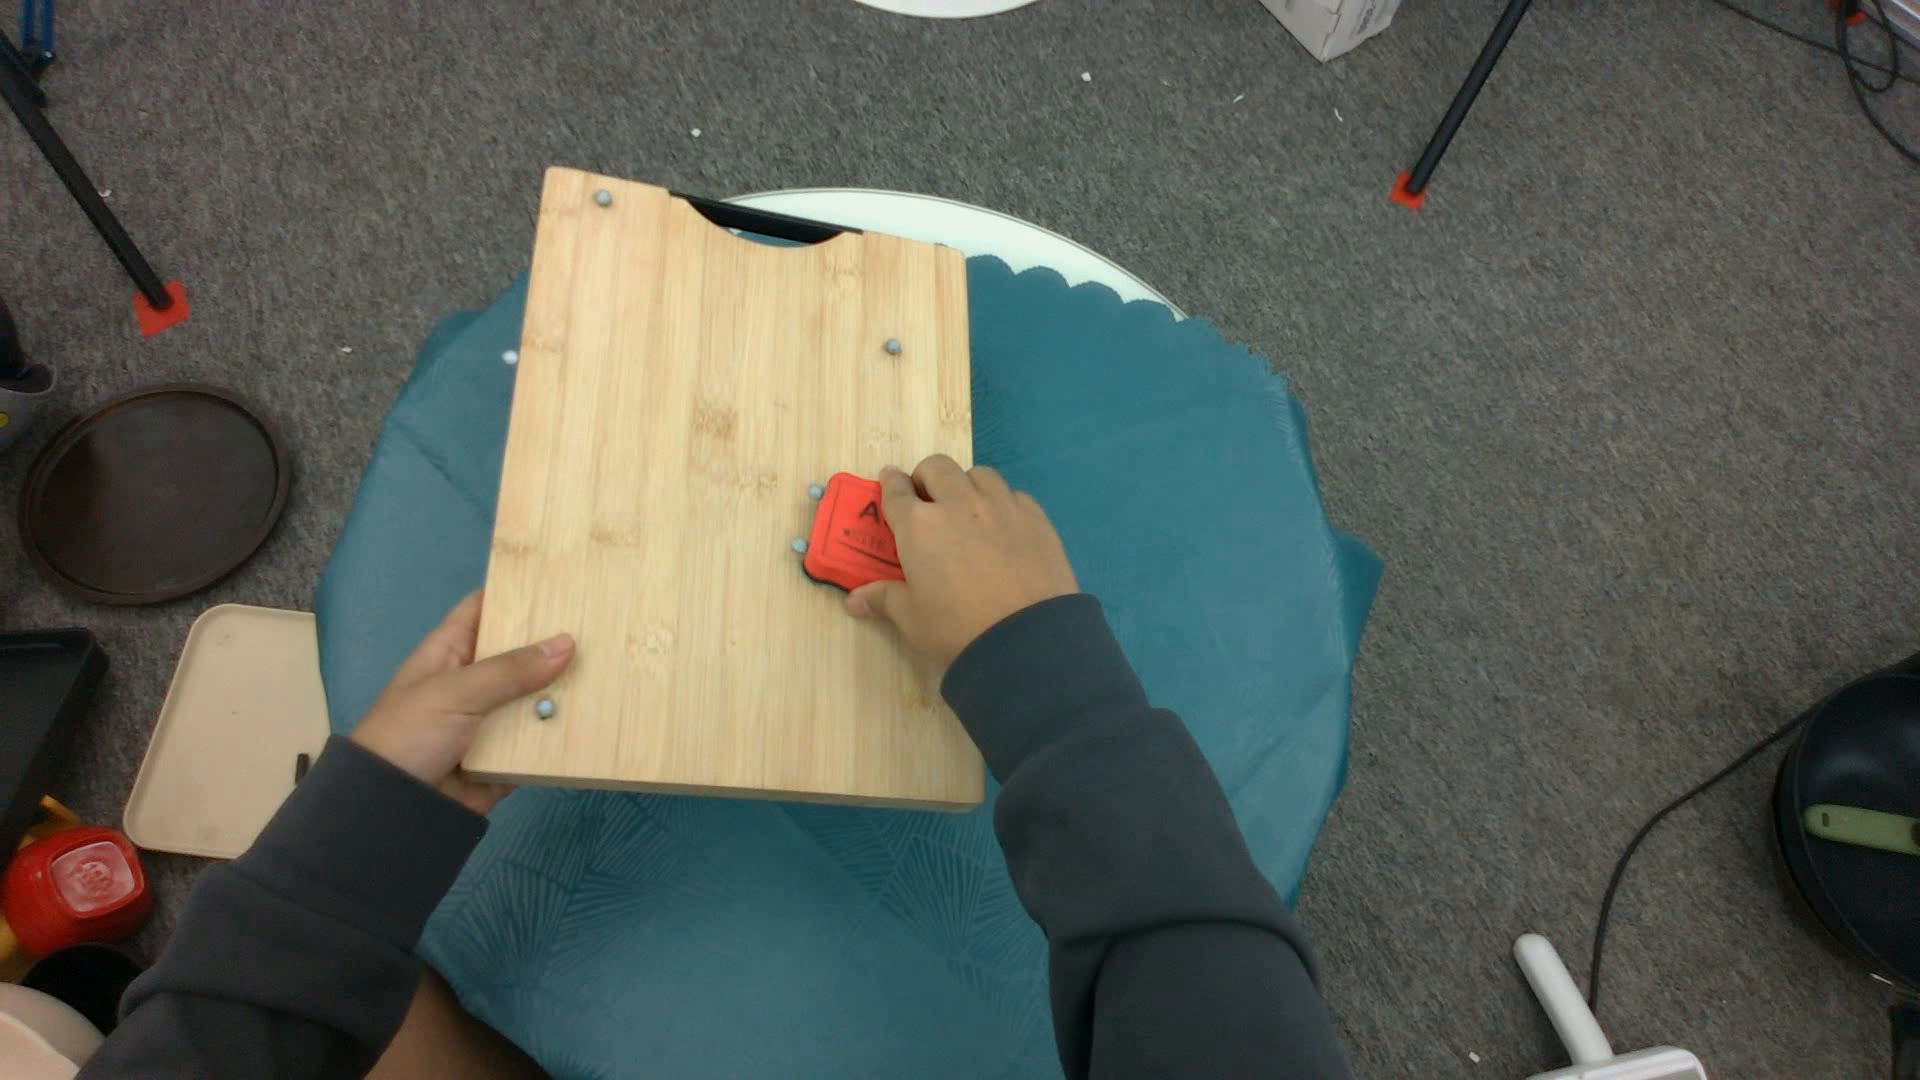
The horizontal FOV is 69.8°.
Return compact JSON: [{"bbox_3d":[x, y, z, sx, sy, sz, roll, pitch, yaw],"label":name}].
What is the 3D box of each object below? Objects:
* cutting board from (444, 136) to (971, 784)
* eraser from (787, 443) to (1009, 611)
[{"bbox_3d":[-0.115,-0.049,0.715,0.251,0.023,0.350,7,62,-19],"label":"cutting board"},{"bbox_3d":[-0.031,-0.006,0.702,0.108,0.023,0.059,19,60,-11],"label":"eraser"}]
